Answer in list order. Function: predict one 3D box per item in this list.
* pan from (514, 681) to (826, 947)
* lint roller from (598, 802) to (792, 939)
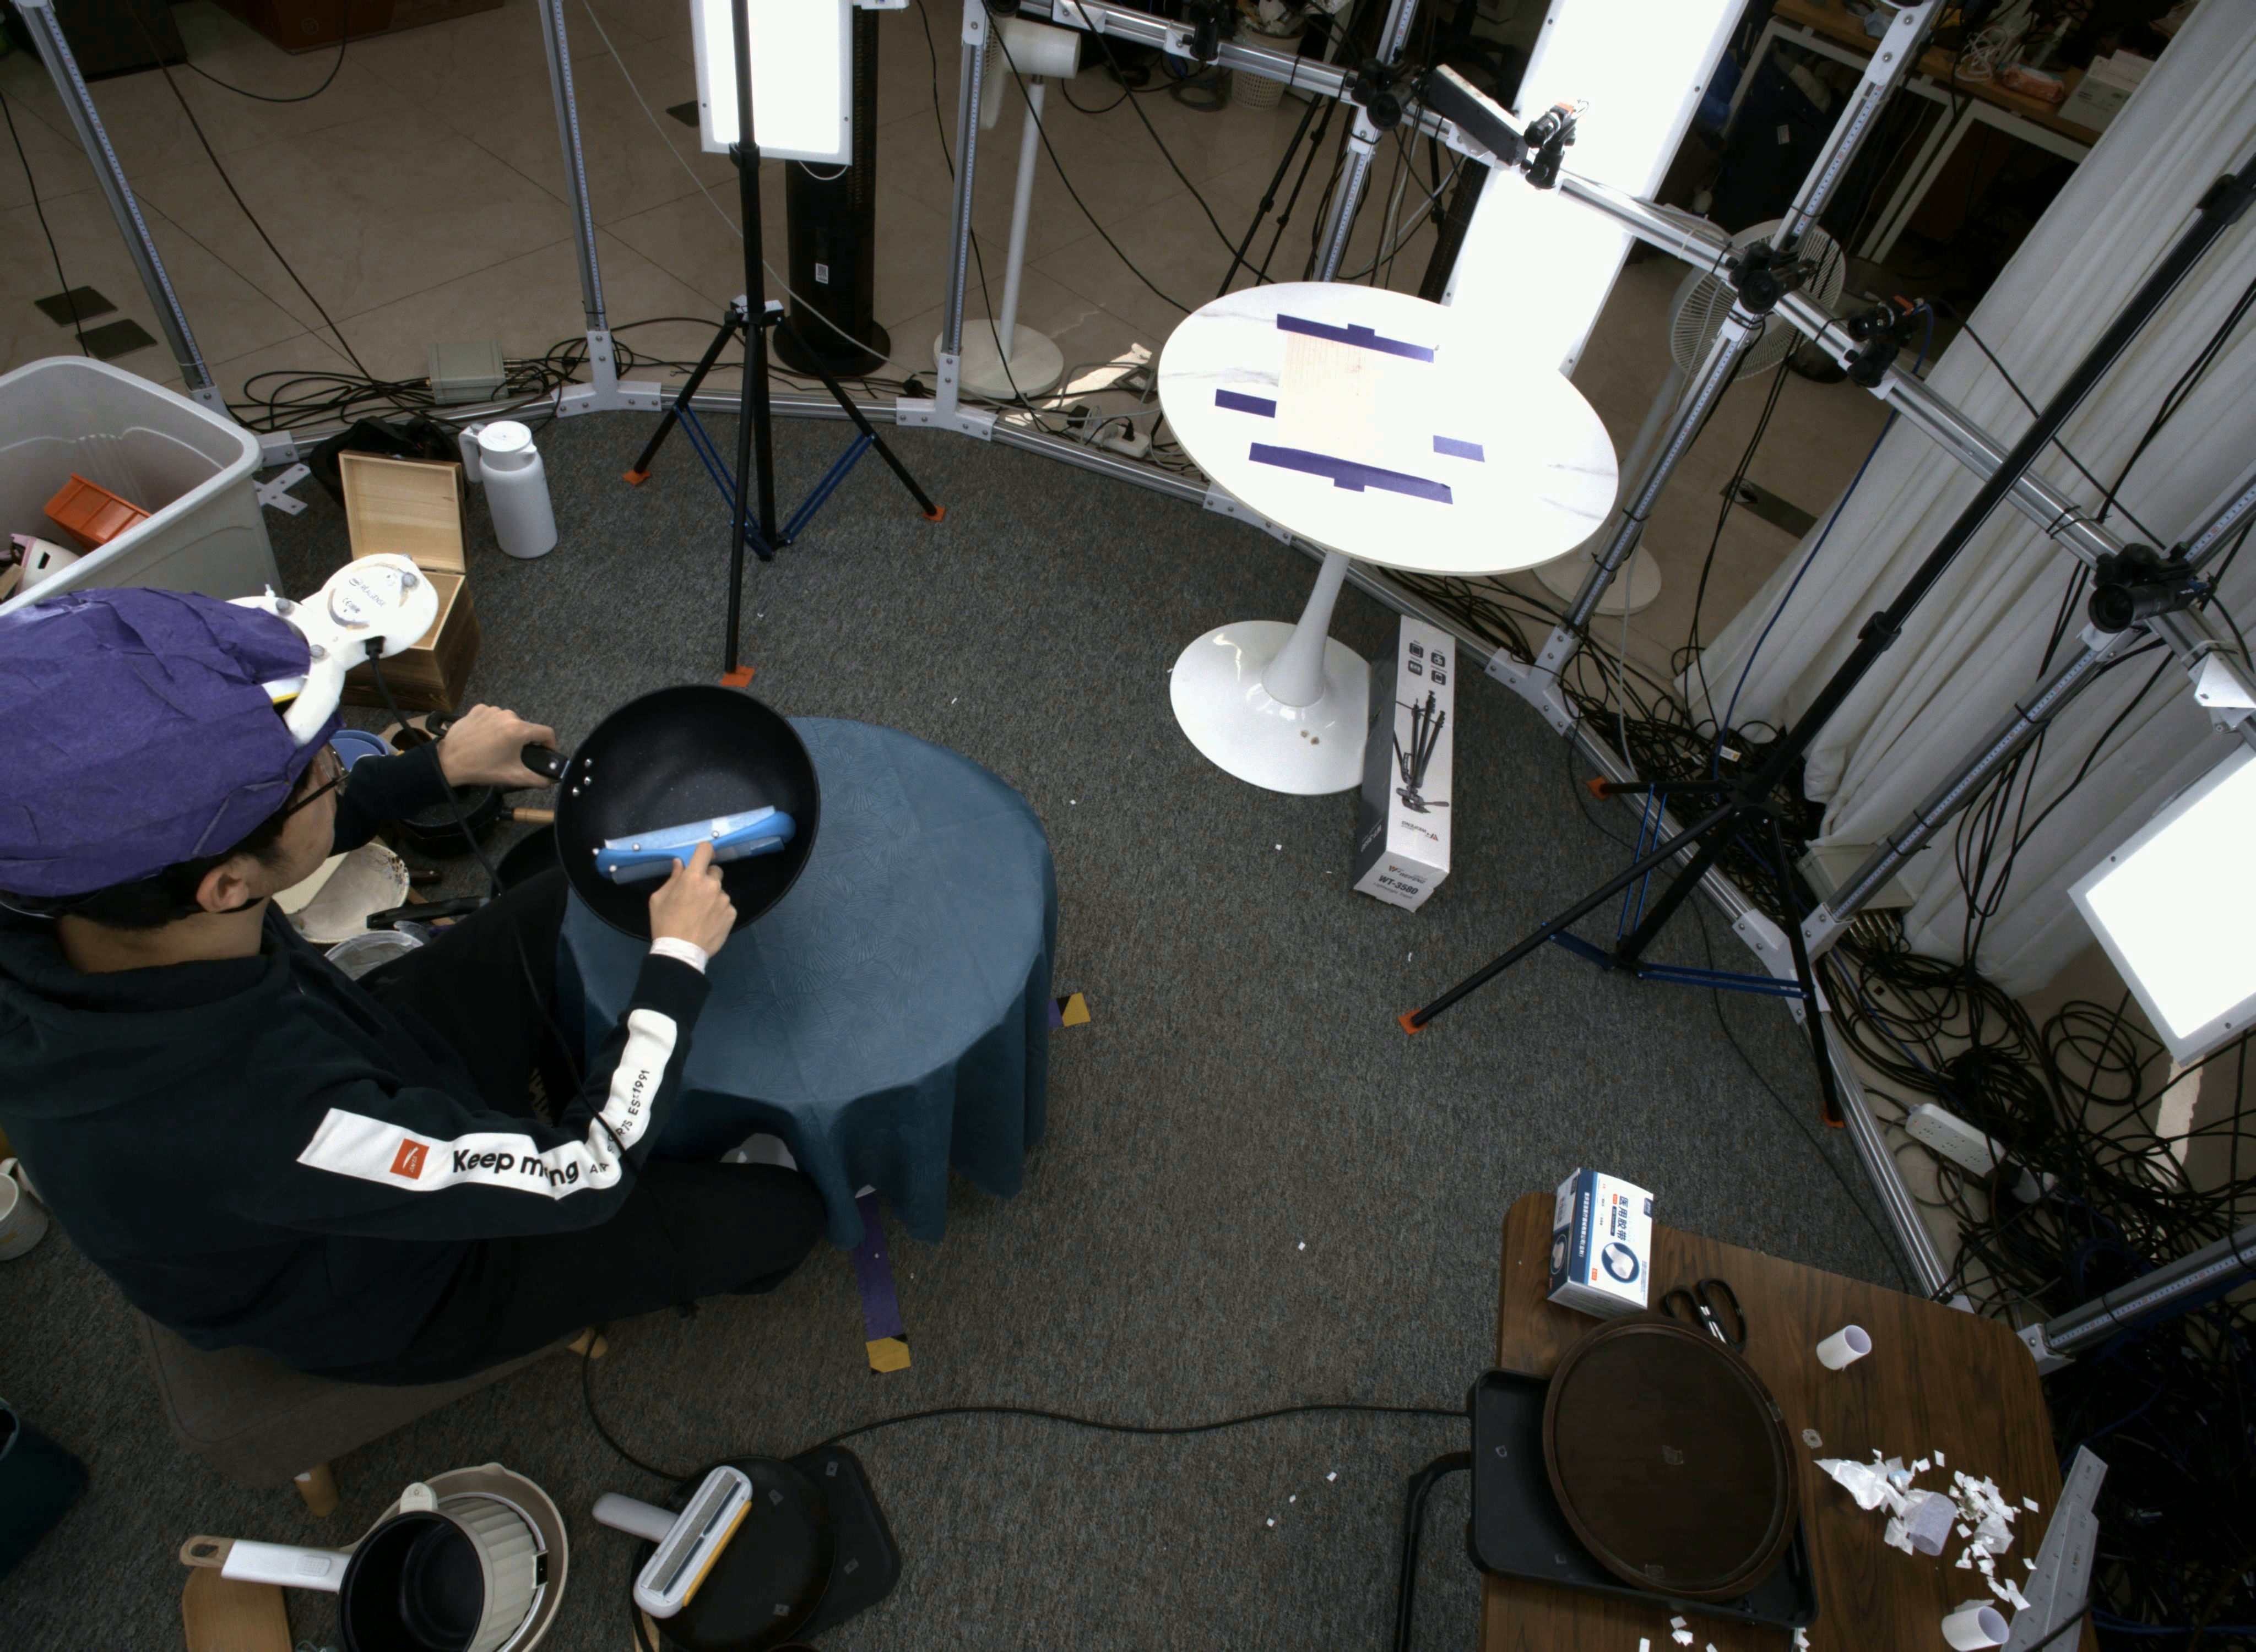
[{"bbox_3d":[-0.577,-0.037,1.500,0.472,0.112,0.310,18,77,1],"label":"pan"},{"bbox_3d":[-0.486,0.047,1.457,0.229,0.070,0.174,-13,36,-17],"label":"lint roller"}]
